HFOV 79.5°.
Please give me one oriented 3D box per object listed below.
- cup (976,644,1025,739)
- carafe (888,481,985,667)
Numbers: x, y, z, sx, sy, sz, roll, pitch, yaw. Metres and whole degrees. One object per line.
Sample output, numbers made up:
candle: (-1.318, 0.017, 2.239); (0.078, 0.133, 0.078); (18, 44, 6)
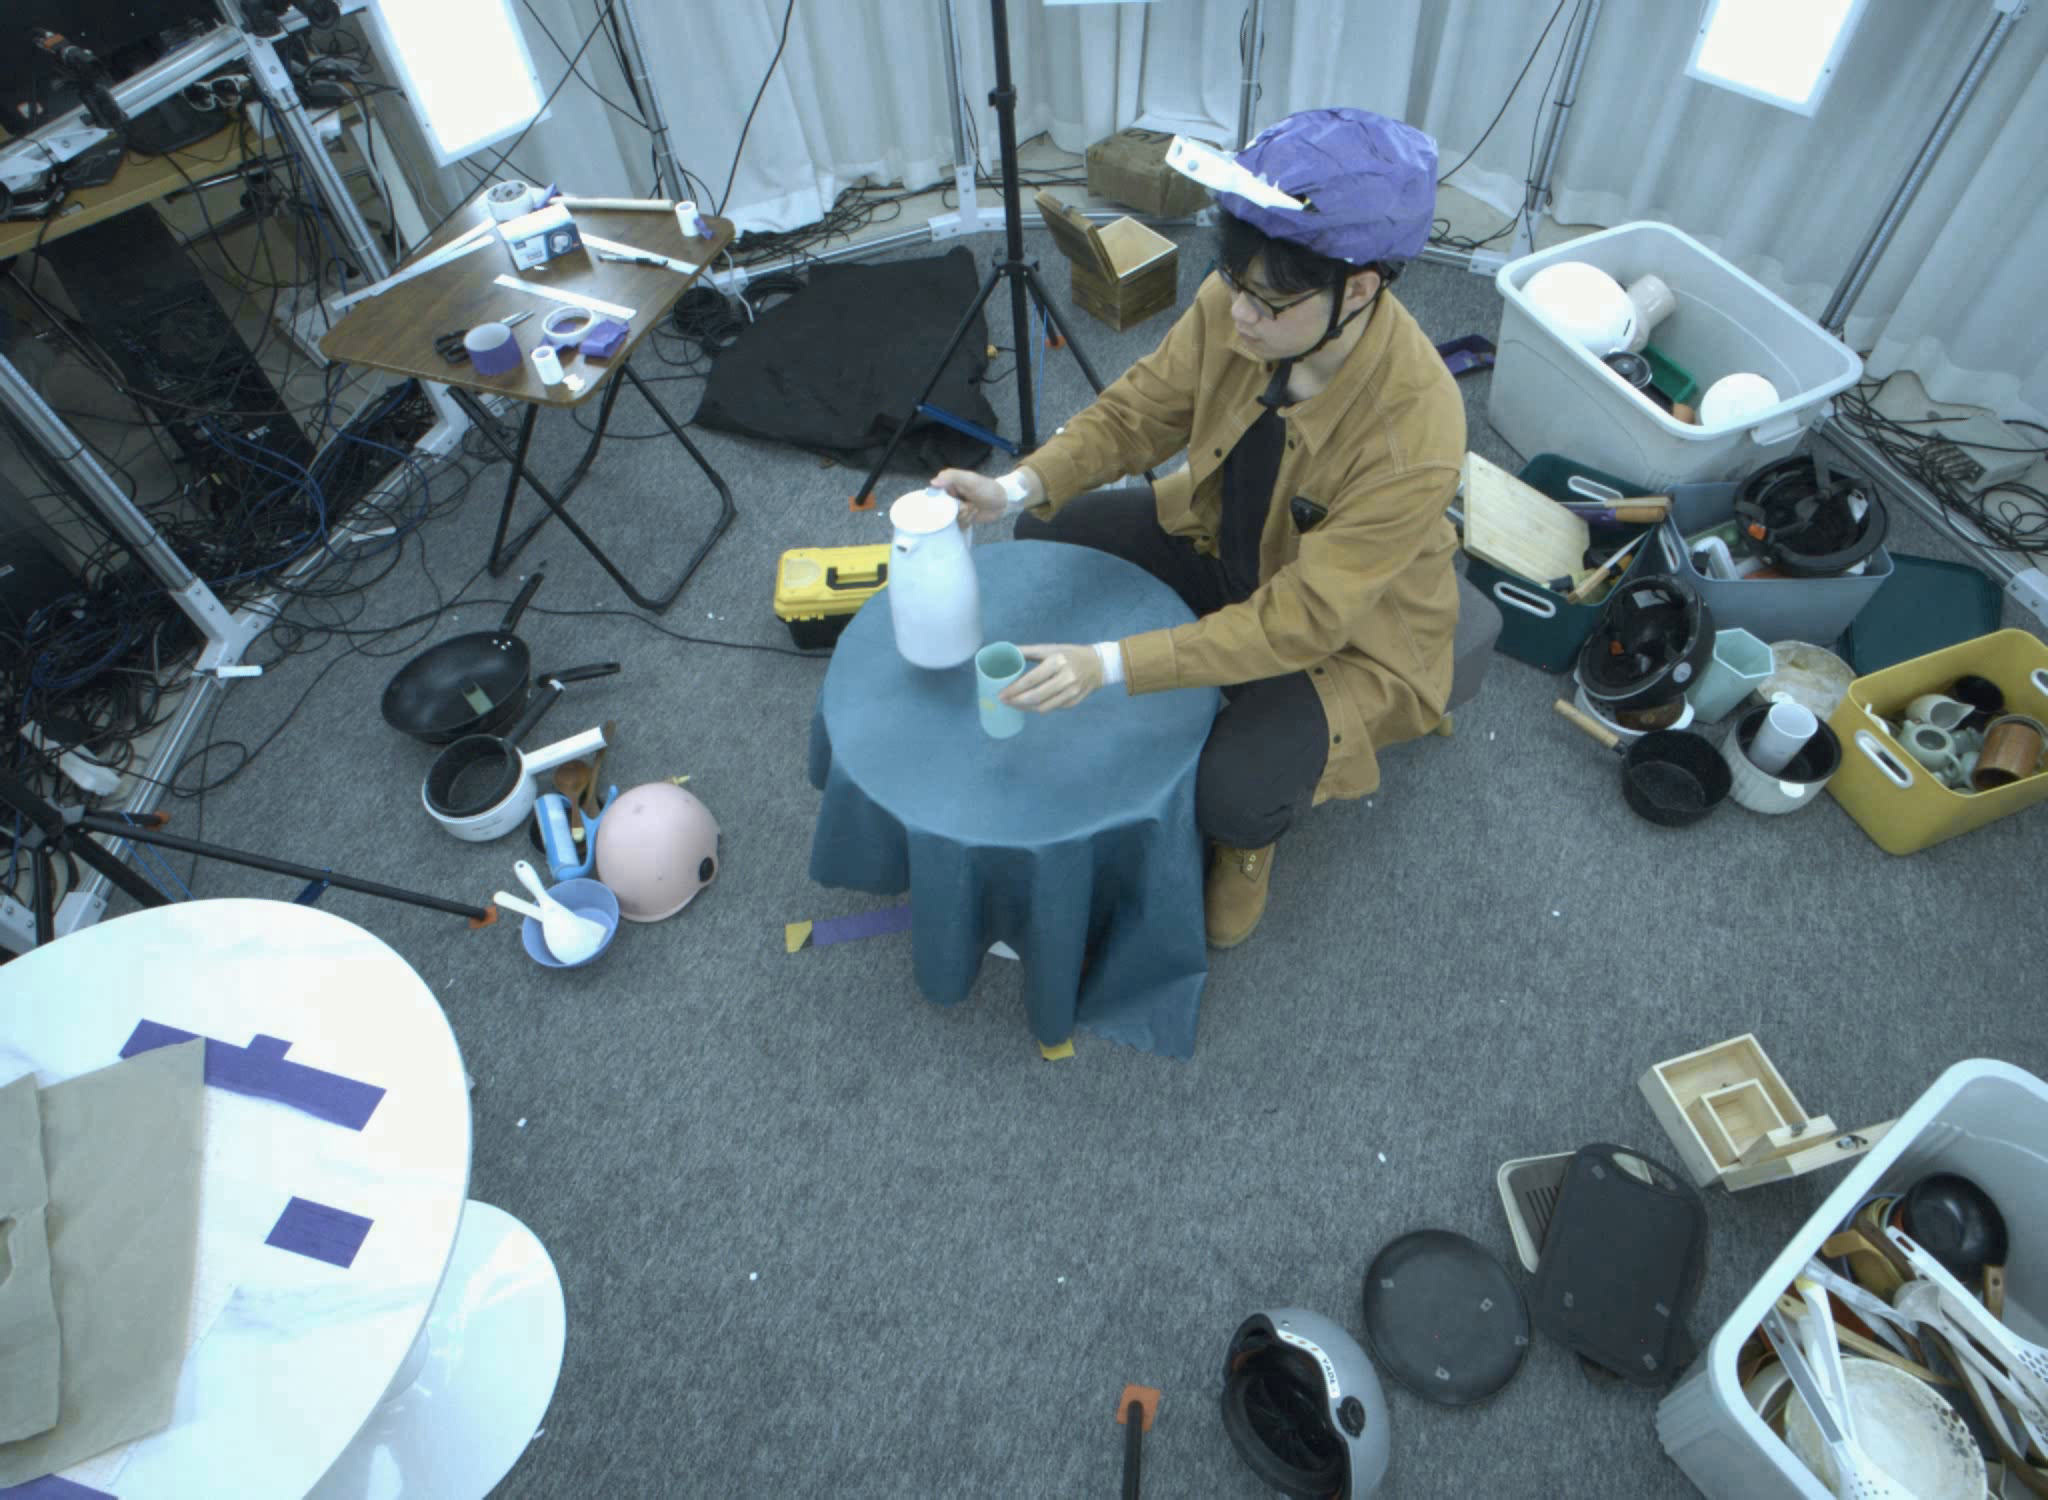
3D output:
cup: (-0.030, -0.079, 1.673); (0.067, 0.133, 0.066); (0, 55, 1)
carafe: (-0.123, -0.263, 1.738); (0.131, 0.251, 0.168); (18, 53, 17)
